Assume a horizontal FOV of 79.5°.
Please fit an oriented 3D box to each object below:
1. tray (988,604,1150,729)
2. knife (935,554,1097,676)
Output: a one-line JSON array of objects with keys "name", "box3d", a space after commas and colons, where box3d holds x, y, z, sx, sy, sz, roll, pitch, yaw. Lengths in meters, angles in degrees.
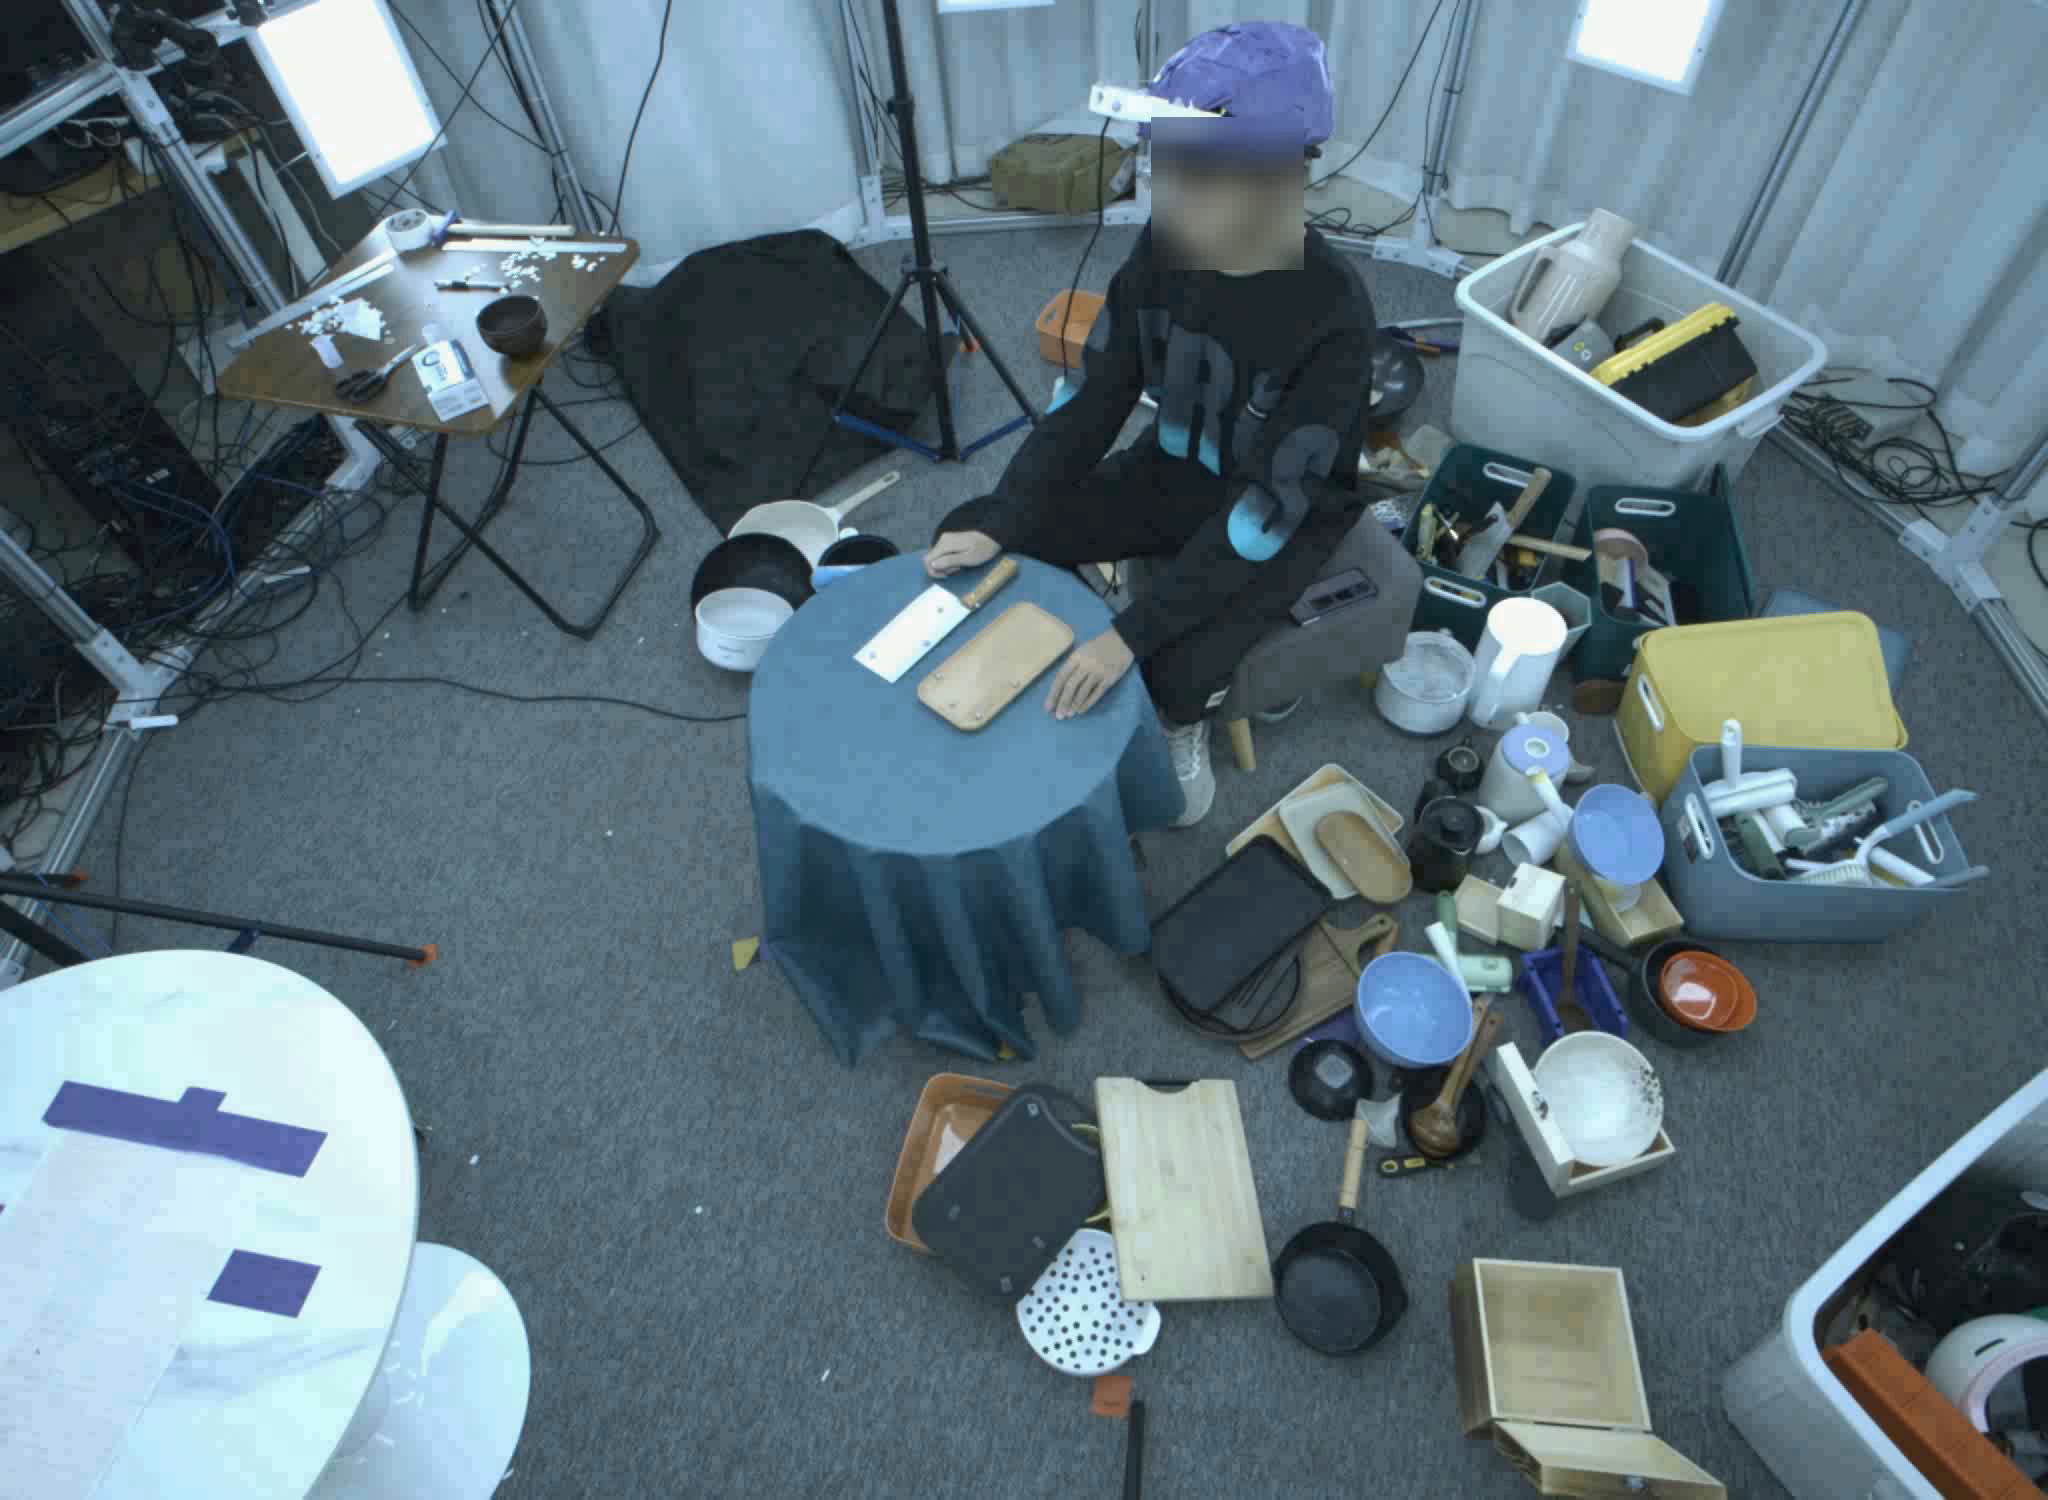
[{"name": "tray", "box3d": [0.069, -0.128, 1.865, 0.252, 0.023, 0.128, -37, 63, -22]}, {"name": "knife", "box3d": [-0.017, -0.227, 1.939, 0.091, 0.021, 0.307, 38, 66, 27]}]
